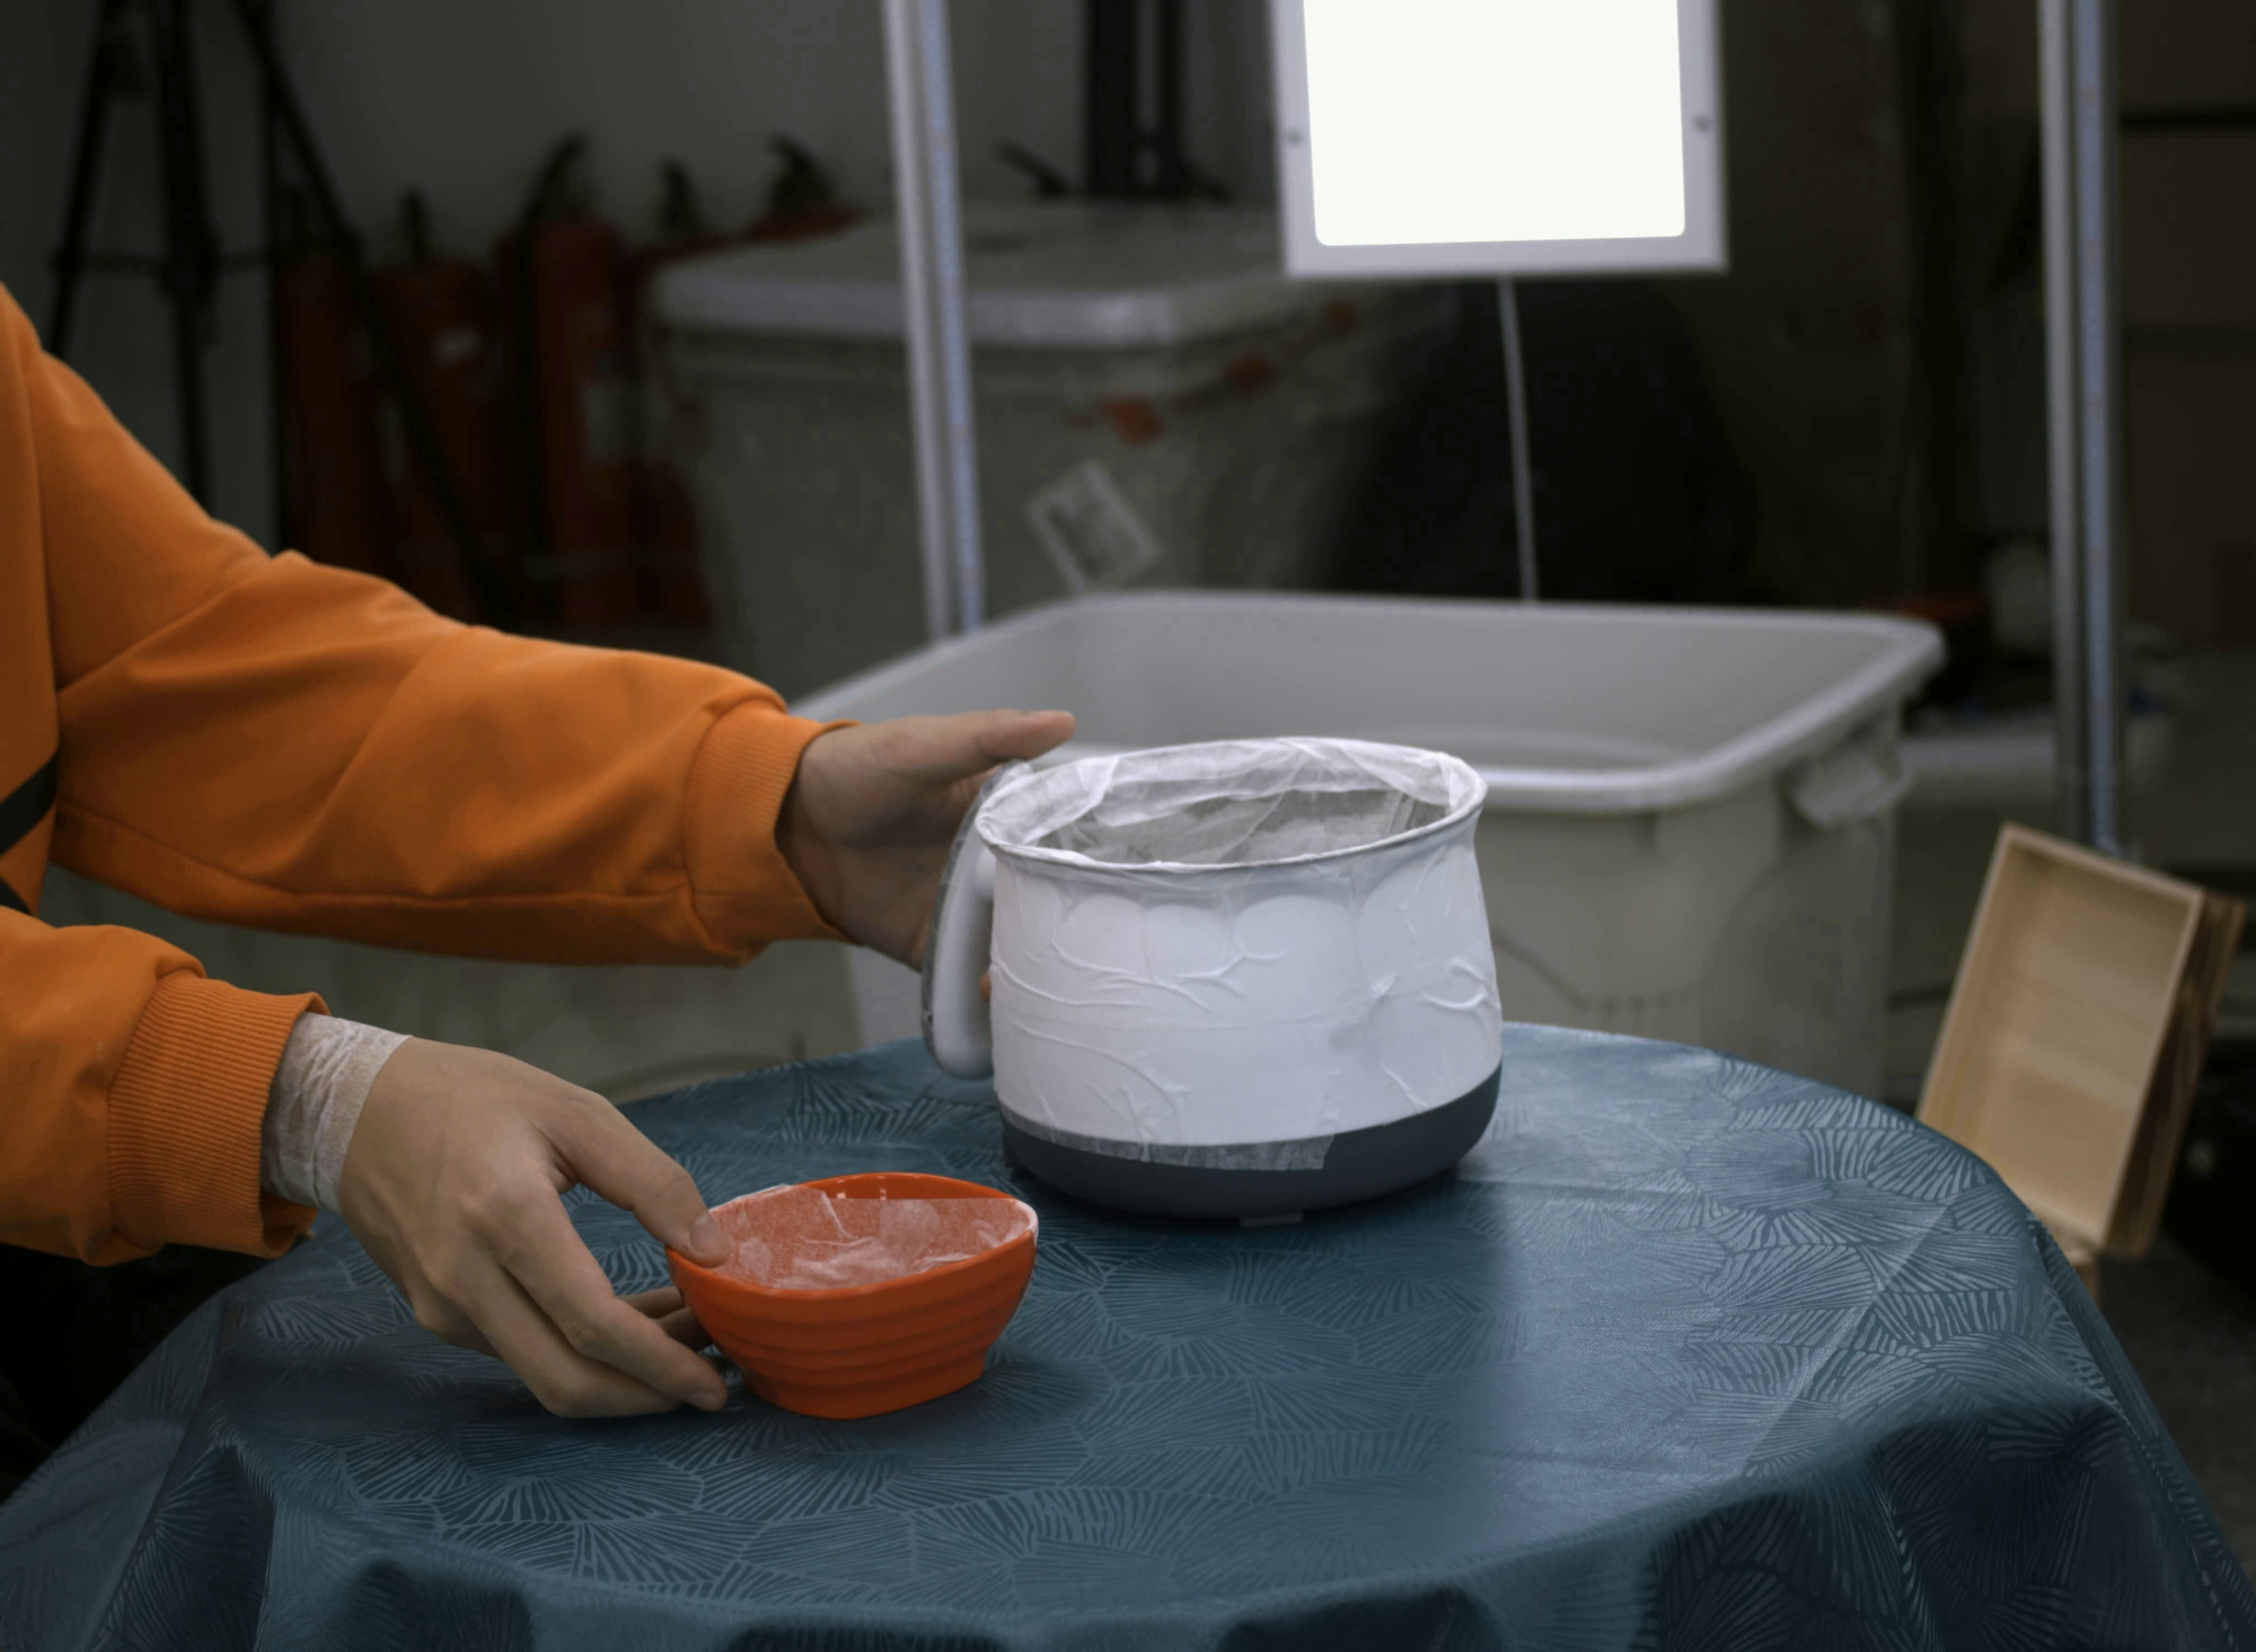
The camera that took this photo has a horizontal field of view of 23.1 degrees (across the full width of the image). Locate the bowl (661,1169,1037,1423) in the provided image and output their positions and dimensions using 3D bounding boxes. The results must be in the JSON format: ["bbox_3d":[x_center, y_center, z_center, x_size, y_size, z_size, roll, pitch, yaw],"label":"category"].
[{"bbox_3d":[-0.085,0.149,1.728,0.118,0.051,0.119,-5,15,0],"label":"bowl"}]

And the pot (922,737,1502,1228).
[{"bbox_3d":[0.019,0.049,1.916,0.239,0.137,0.174,8,18,40],"label":"pot"}]
